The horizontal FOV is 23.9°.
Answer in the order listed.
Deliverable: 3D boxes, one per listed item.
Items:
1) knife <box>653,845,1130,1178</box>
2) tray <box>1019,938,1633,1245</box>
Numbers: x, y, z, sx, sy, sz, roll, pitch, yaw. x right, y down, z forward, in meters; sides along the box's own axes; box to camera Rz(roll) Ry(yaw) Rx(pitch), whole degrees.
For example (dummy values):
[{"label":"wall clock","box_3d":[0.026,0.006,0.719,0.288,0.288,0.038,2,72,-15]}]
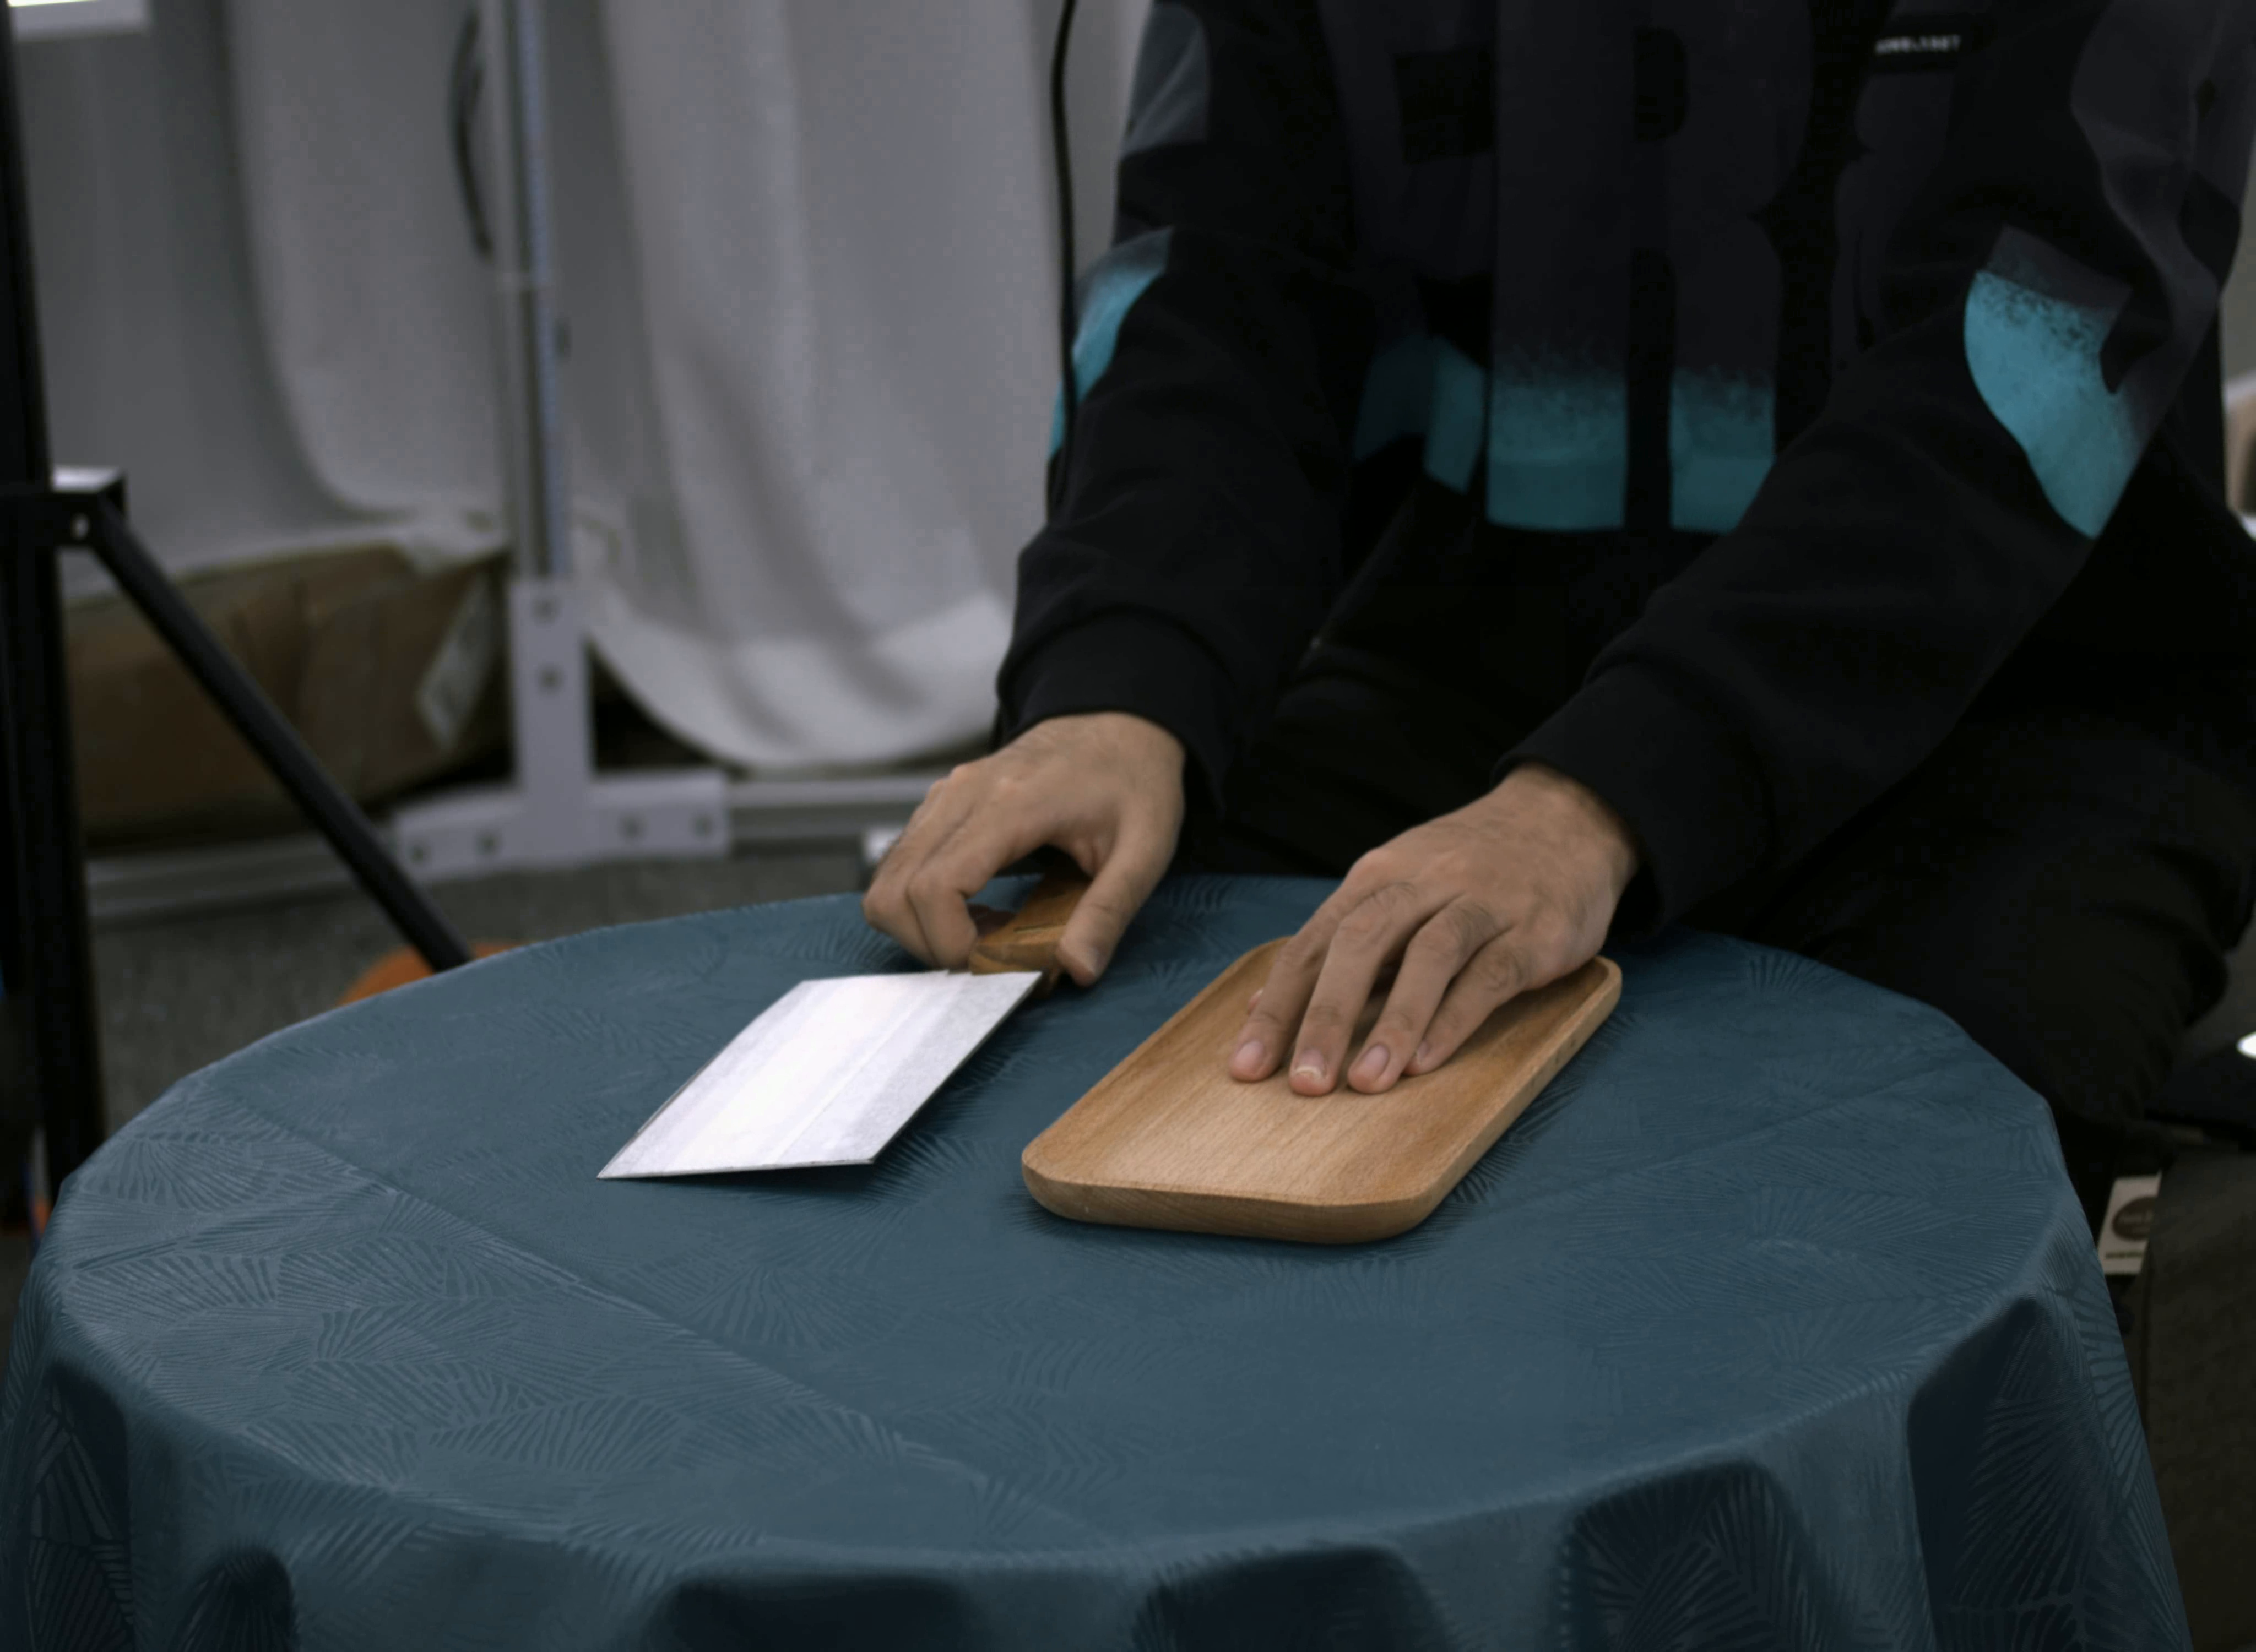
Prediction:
[{"label":"knife","box_3d":[-0.075,0.060,1.717,0.094,0.021,0.303,-5,15,18]},{"label":"tray","box_3d":[0.065,0.079,1.622,0.132,0.023,0.247,6,17,22]}]
